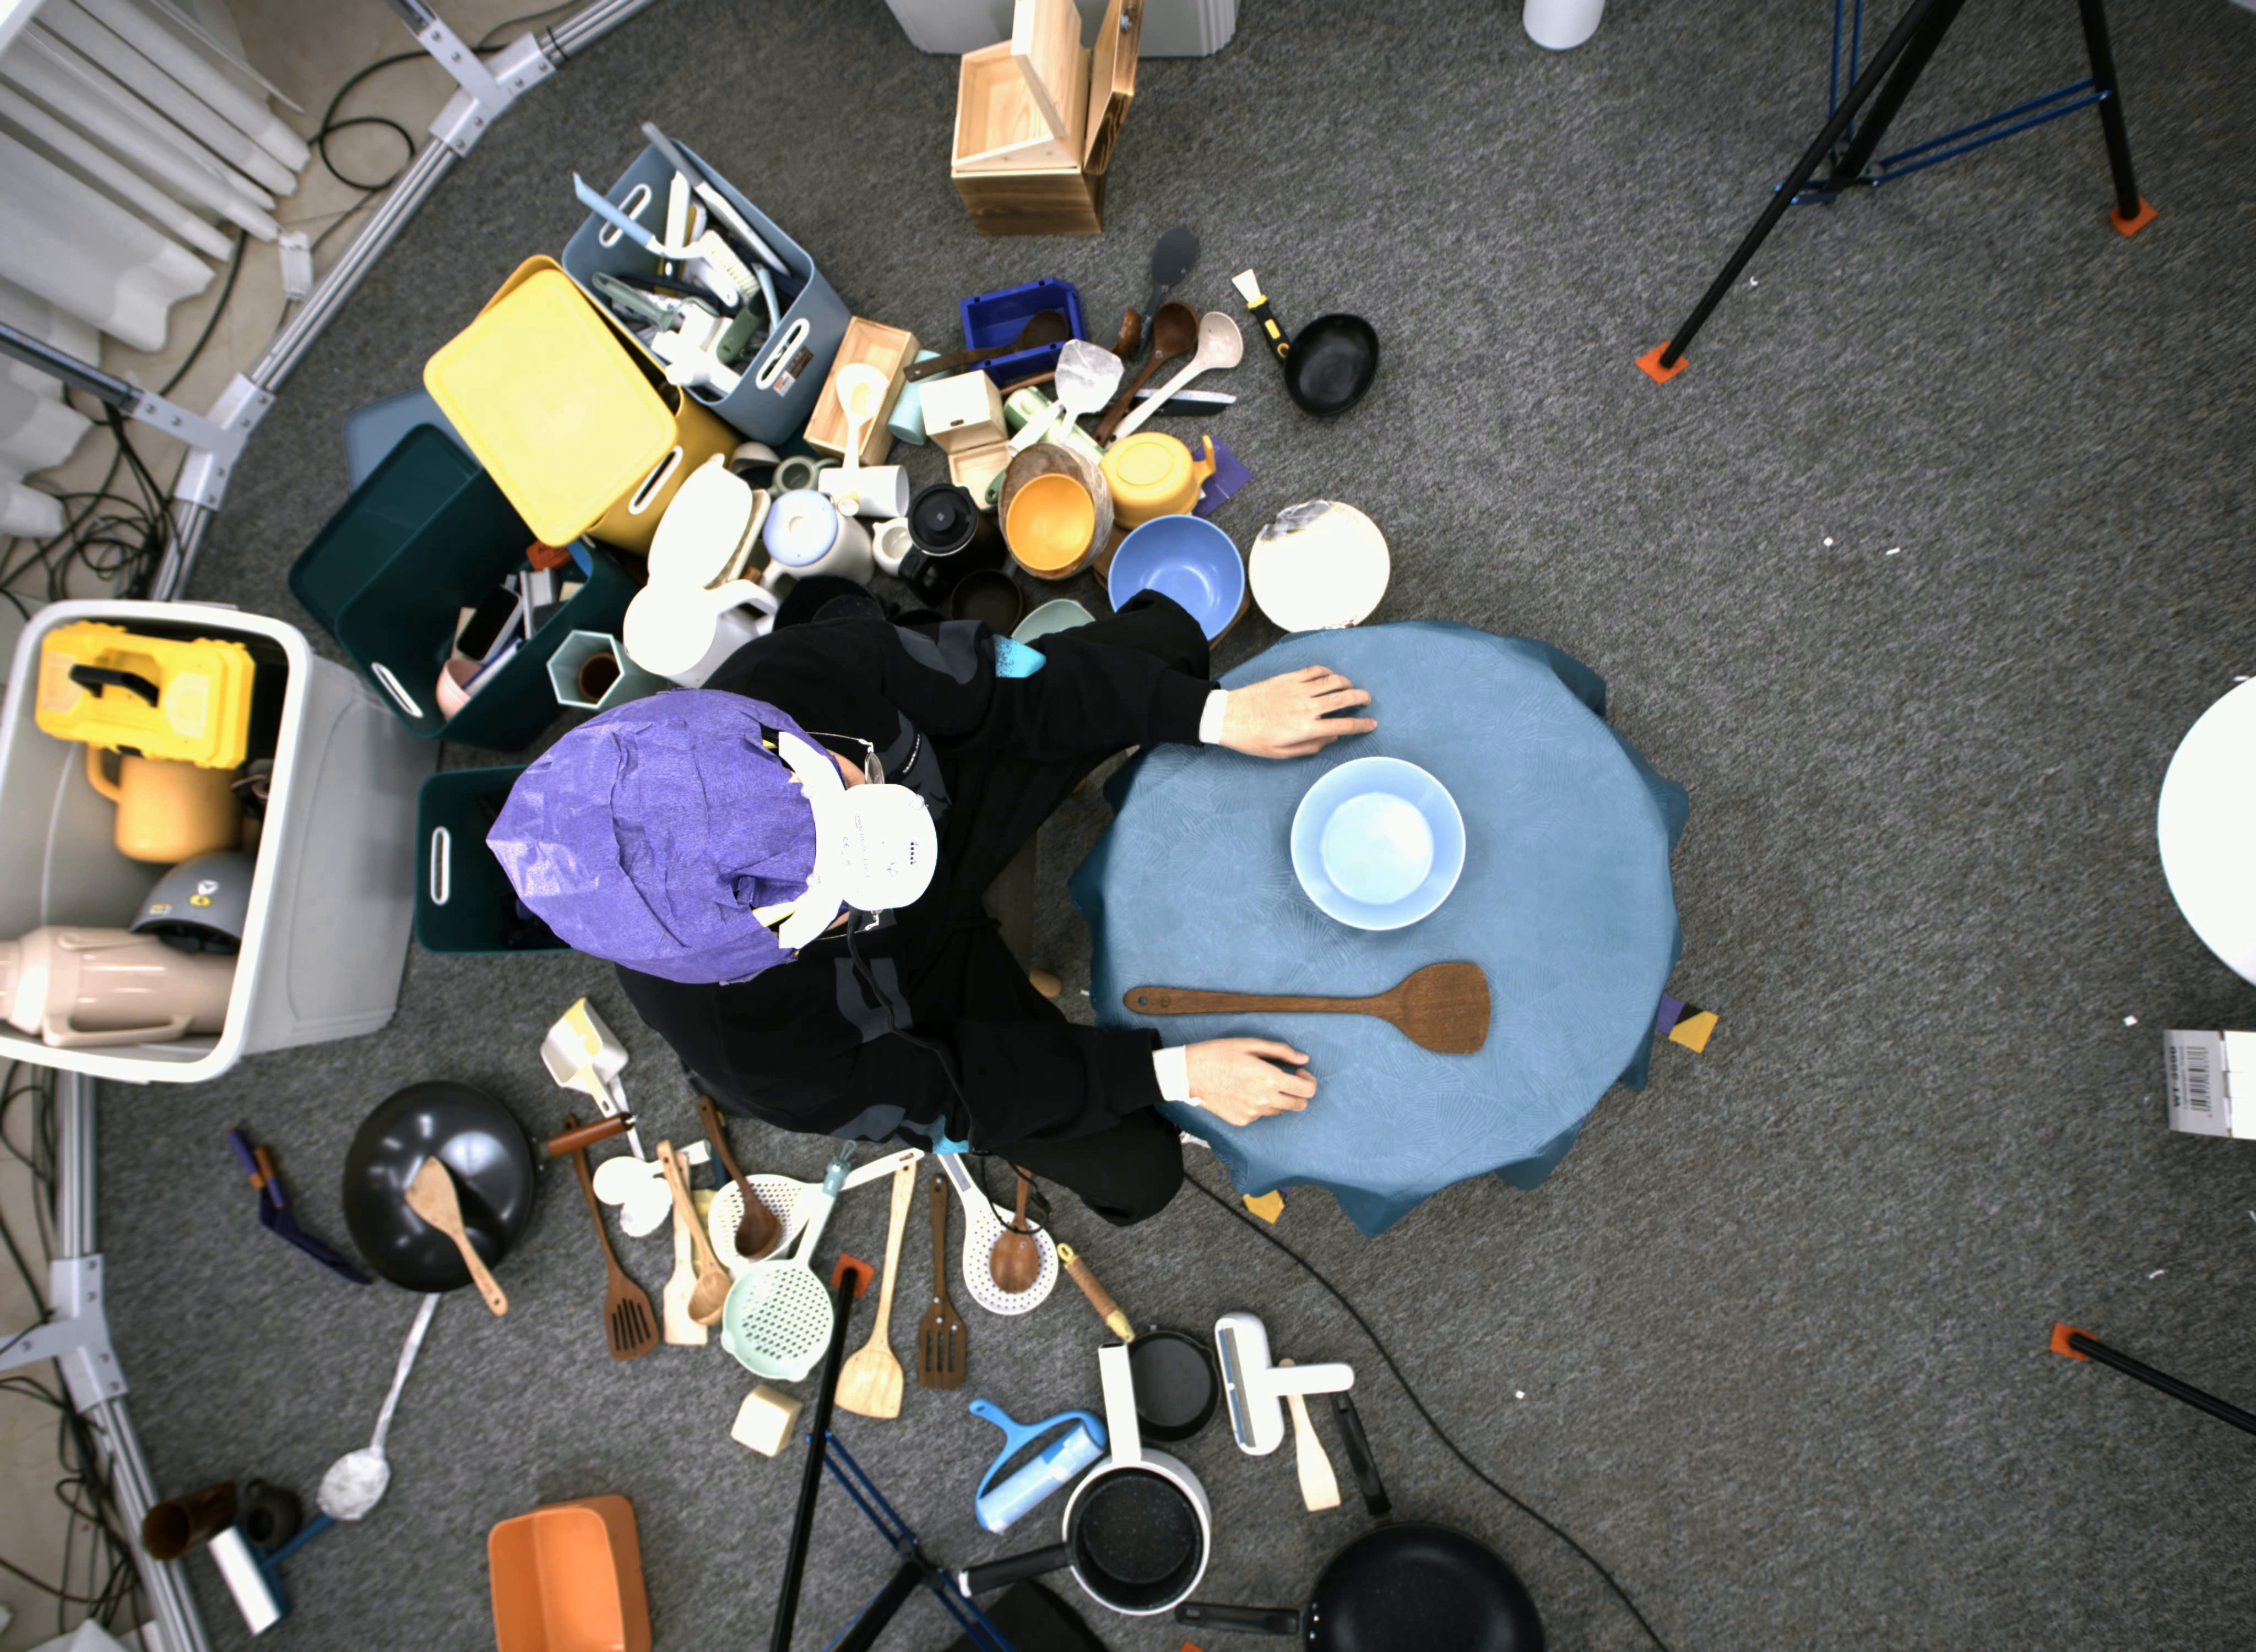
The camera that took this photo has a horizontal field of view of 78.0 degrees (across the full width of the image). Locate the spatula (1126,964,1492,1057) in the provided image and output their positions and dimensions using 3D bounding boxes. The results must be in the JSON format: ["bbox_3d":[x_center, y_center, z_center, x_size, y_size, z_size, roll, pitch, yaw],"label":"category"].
[{"bbox_3d":[0.187,0.191,1.465,0.387,0.016,0.095,0,85,11],"label":"spatula"}]

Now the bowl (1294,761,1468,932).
[{"bbox_3d":[0.263,0.023,1.434,0.177,0.070,0.175,-1,85,12],"label":"bowl"}]
